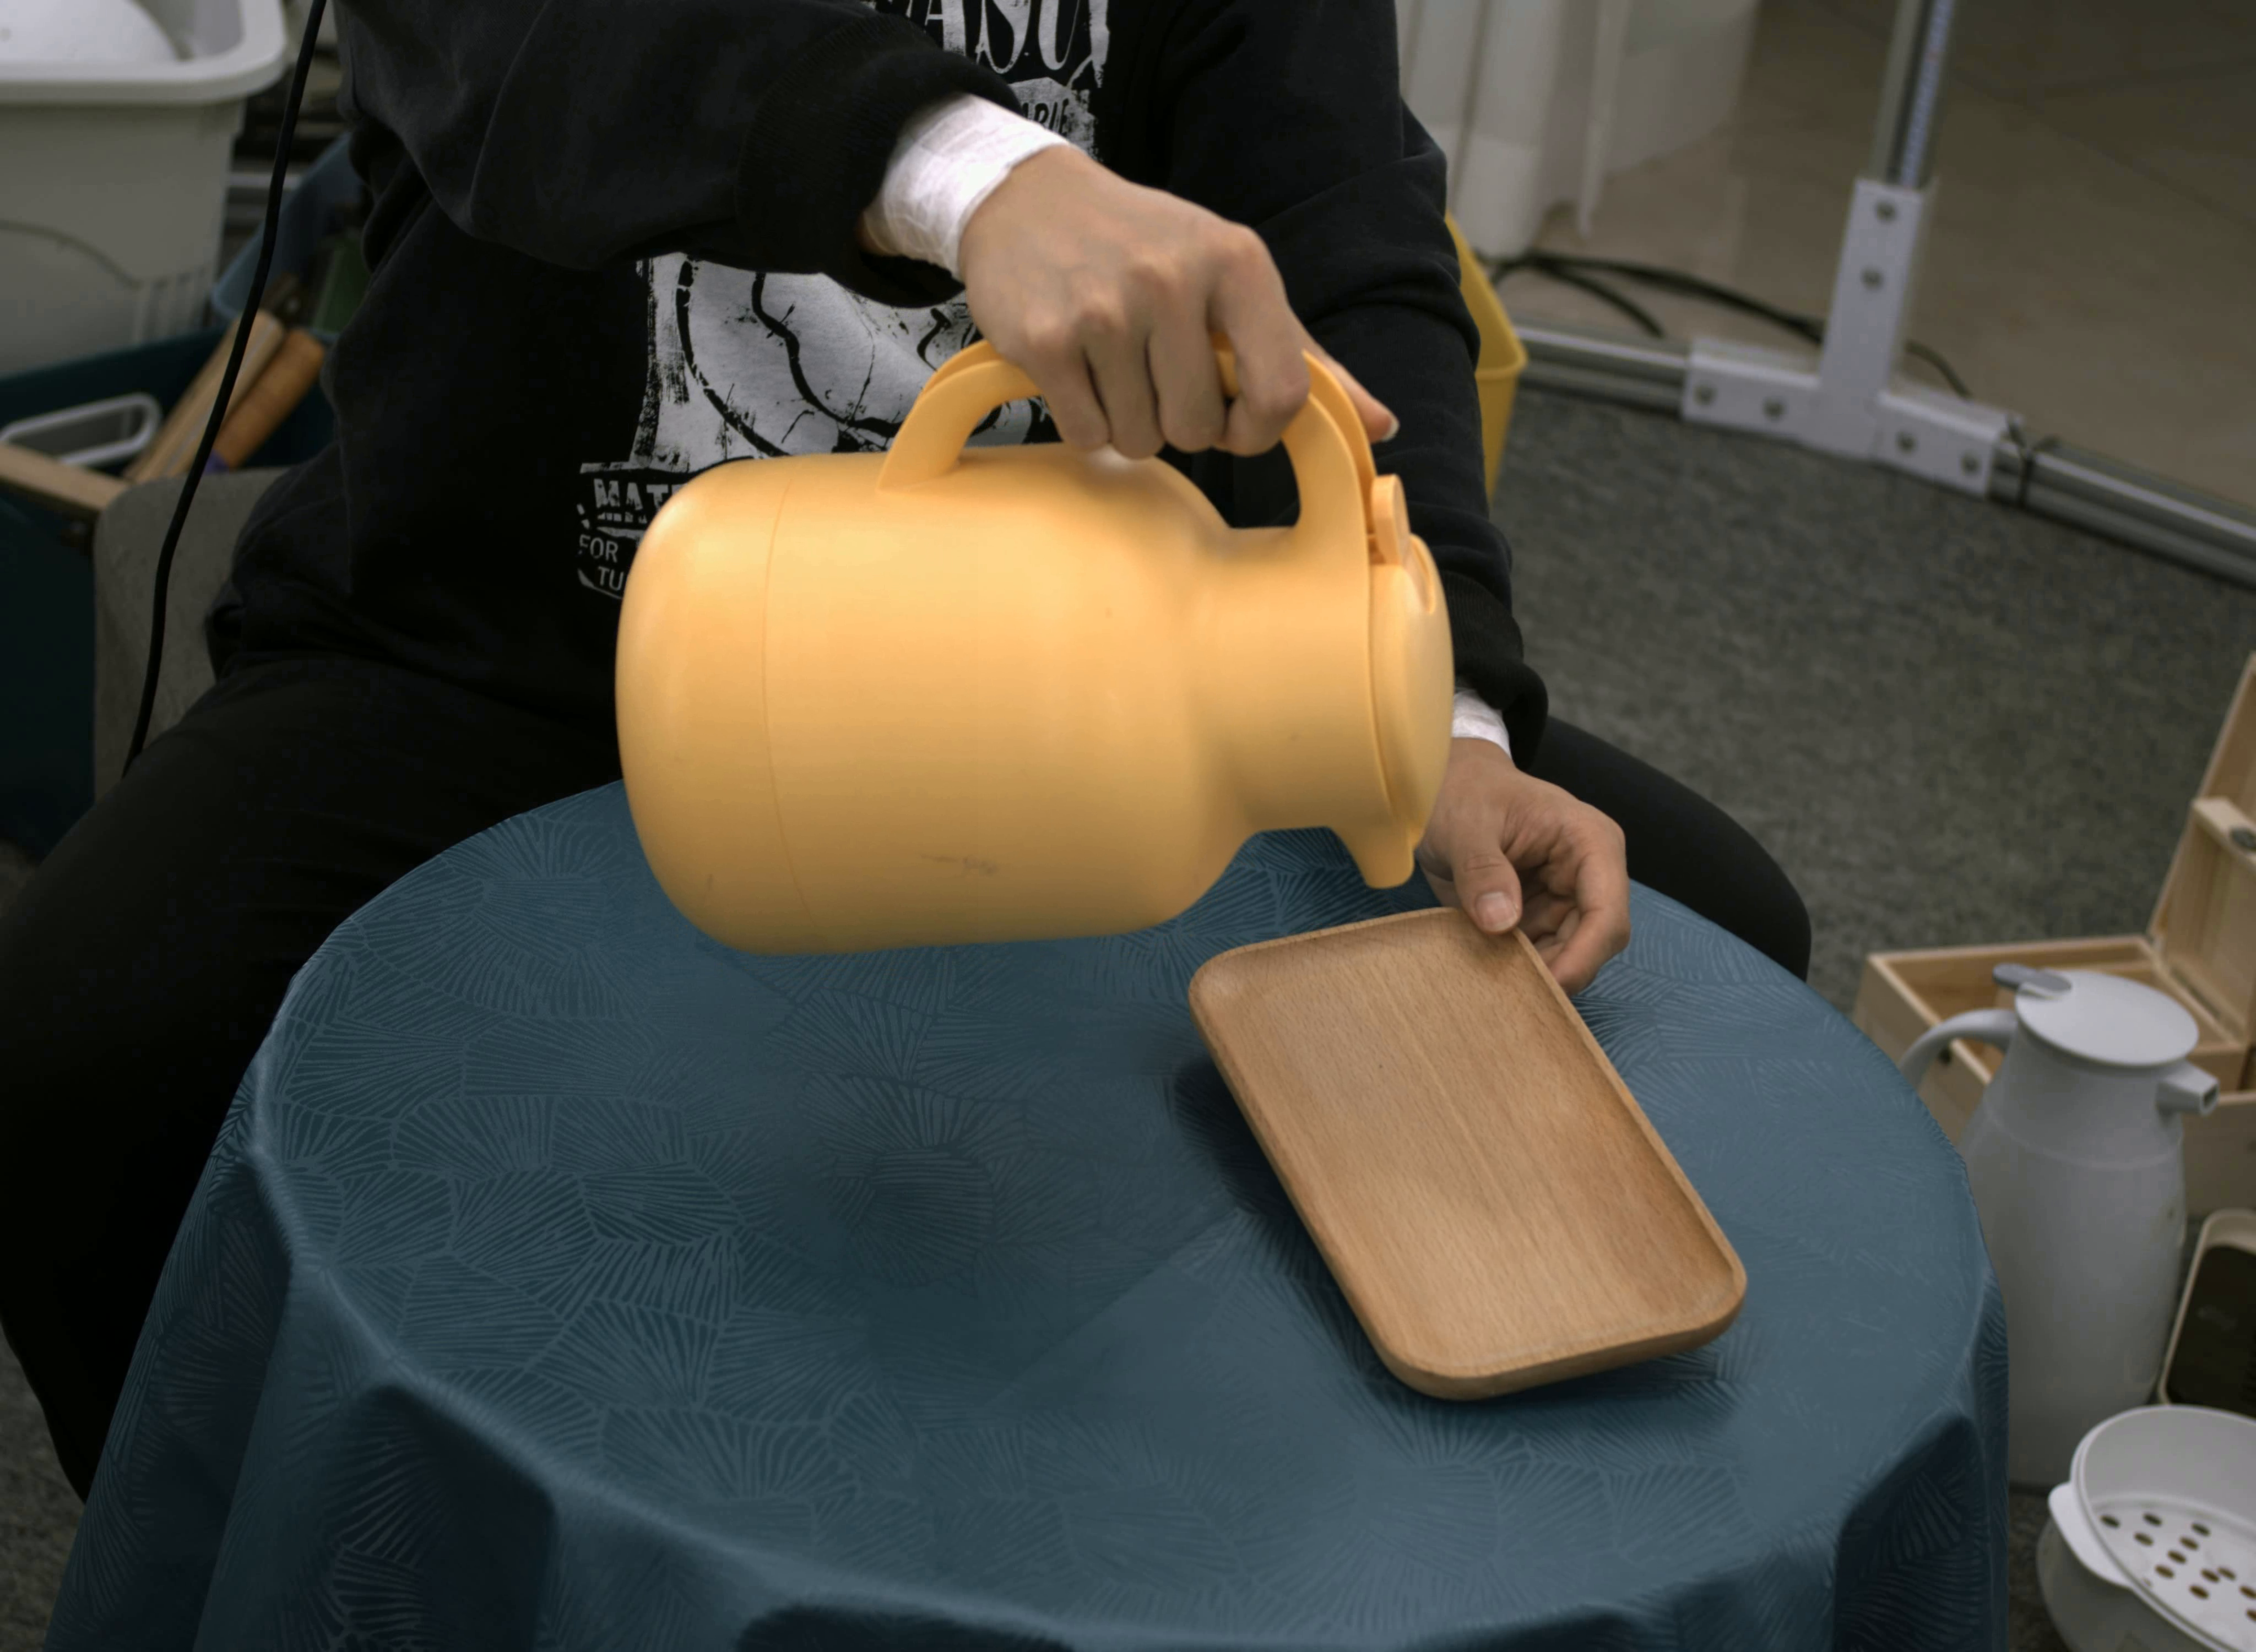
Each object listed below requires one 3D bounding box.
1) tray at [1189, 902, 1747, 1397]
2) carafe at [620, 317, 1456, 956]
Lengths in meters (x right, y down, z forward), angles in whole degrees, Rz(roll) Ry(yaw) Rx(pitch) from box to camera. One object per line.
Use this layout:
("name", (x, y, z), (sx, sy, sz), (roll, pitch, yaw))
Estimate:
("tray", (0.112, 0.107, 1.808), (0.130, 0.023, 0.253), (-9, 34, -14))
("carafe", (-0.028, -0.062, 1.712), (0.260, 0.202, 0.164), (-3, 22, 11))
